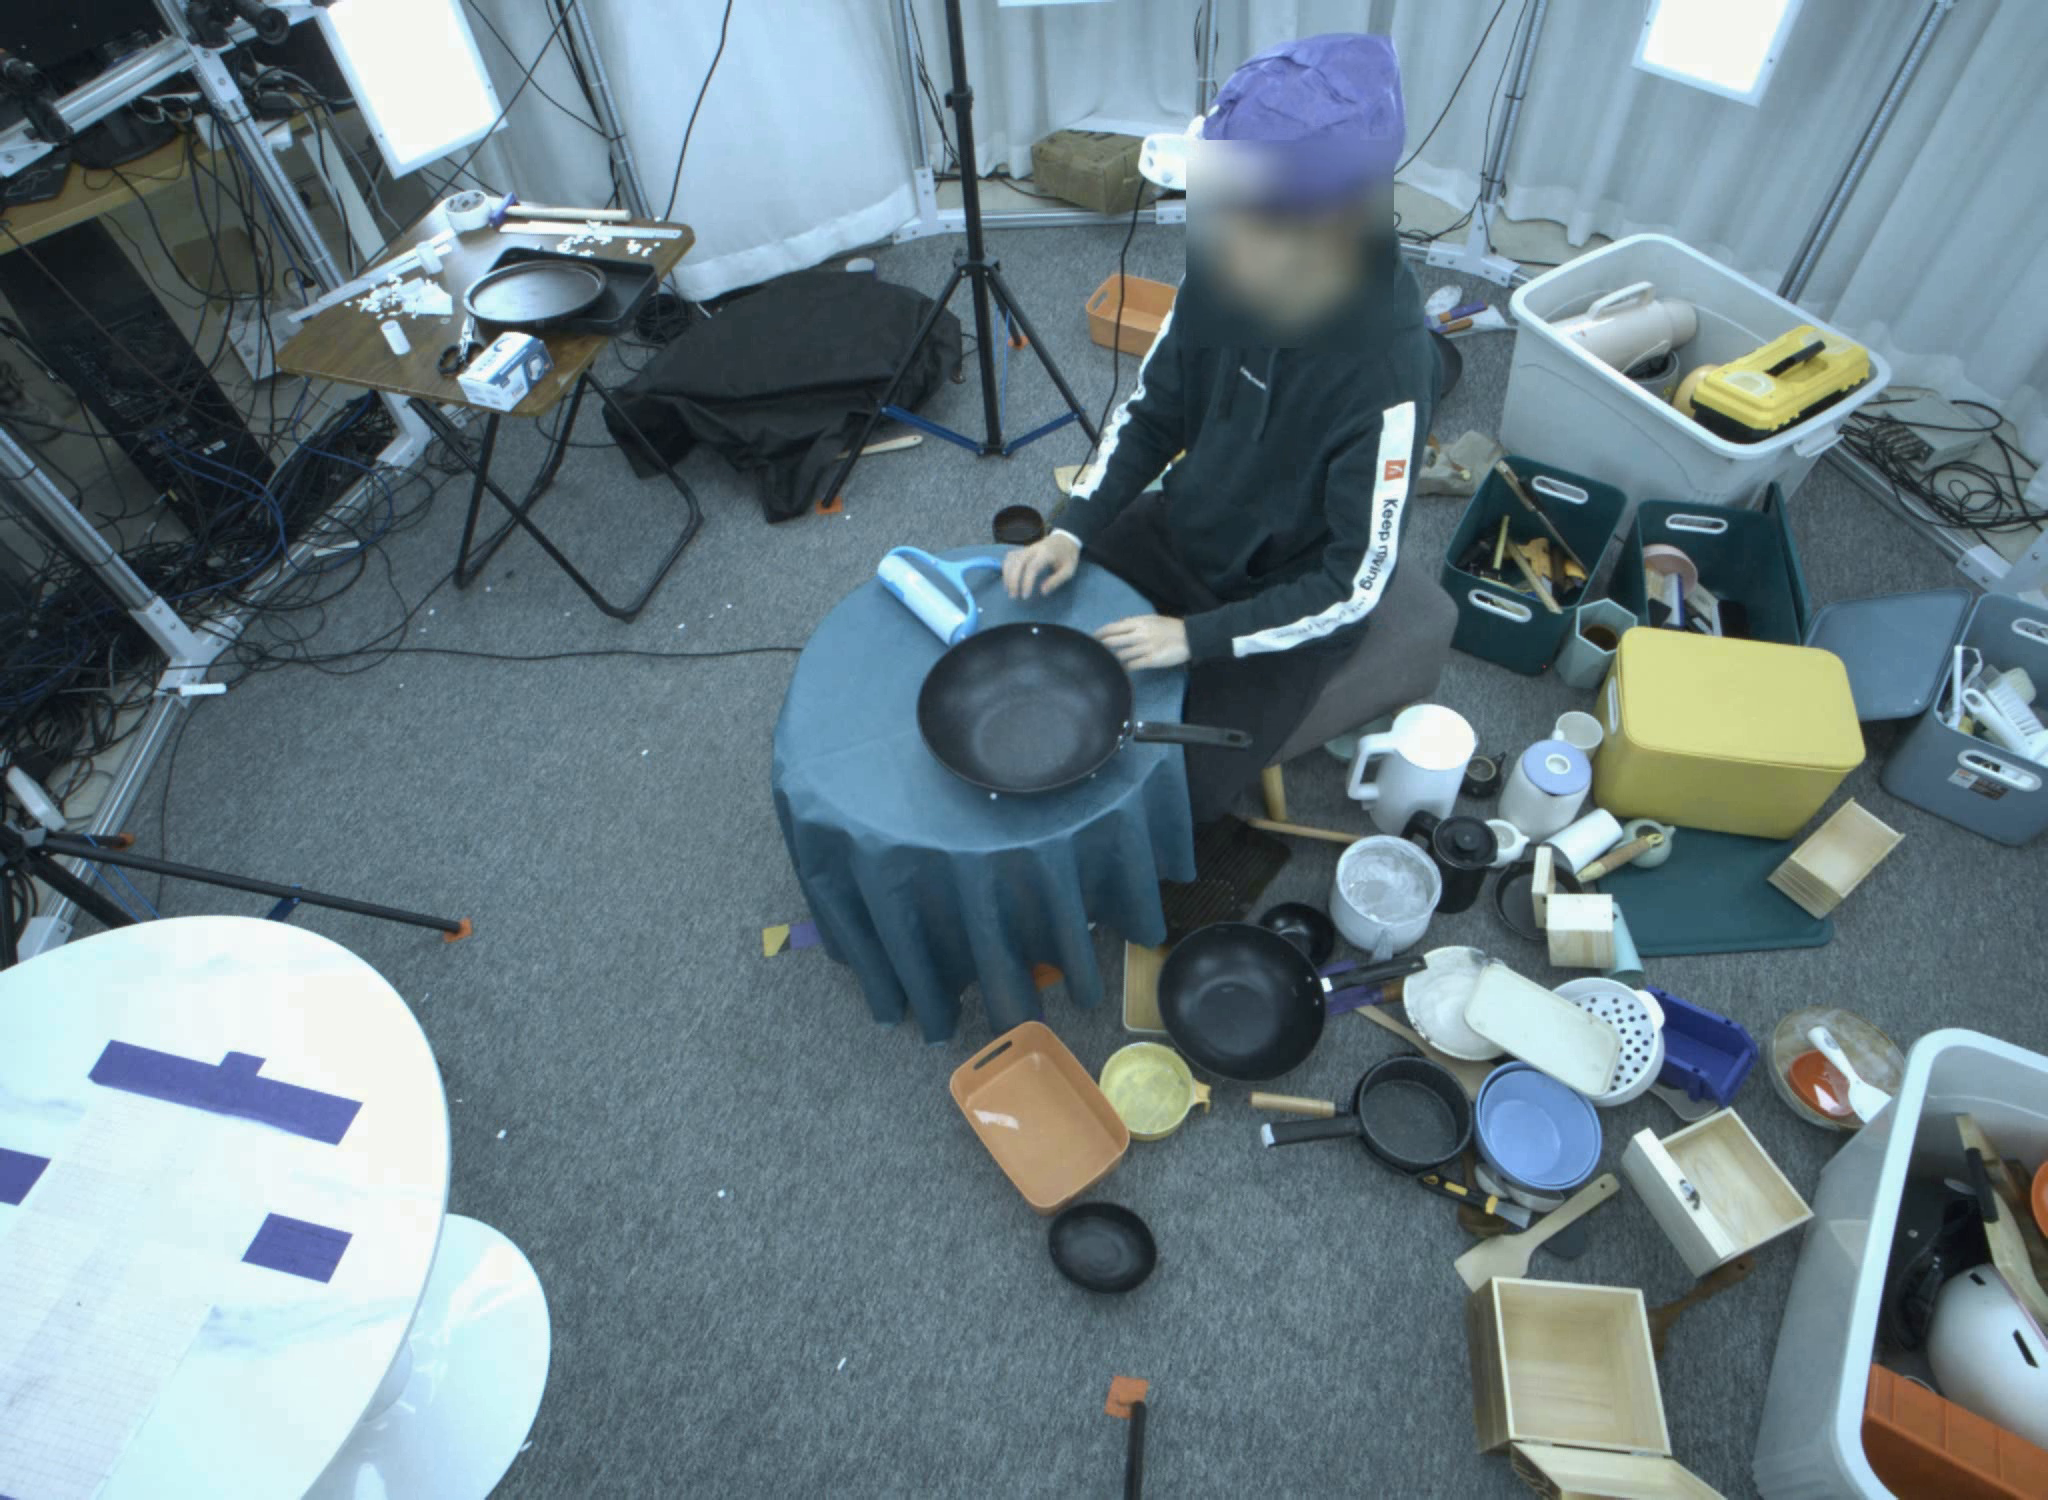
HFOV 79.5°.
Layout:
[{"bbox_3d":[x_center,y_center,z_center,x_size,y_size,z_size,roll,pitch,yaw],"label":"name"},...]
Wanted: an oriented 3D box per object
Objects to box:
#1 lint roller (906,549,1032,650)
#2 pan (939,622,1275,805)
[{"bbox_3d":[-0.064,-0.264,1.939,0.181,0.069,0.224,-37,59,-21],"label":"lint roller"},{"bbox_3d":[0.115,-0.024,1.731,0.472,0.113,0.309,15,58,13],"label":"pan"}]
